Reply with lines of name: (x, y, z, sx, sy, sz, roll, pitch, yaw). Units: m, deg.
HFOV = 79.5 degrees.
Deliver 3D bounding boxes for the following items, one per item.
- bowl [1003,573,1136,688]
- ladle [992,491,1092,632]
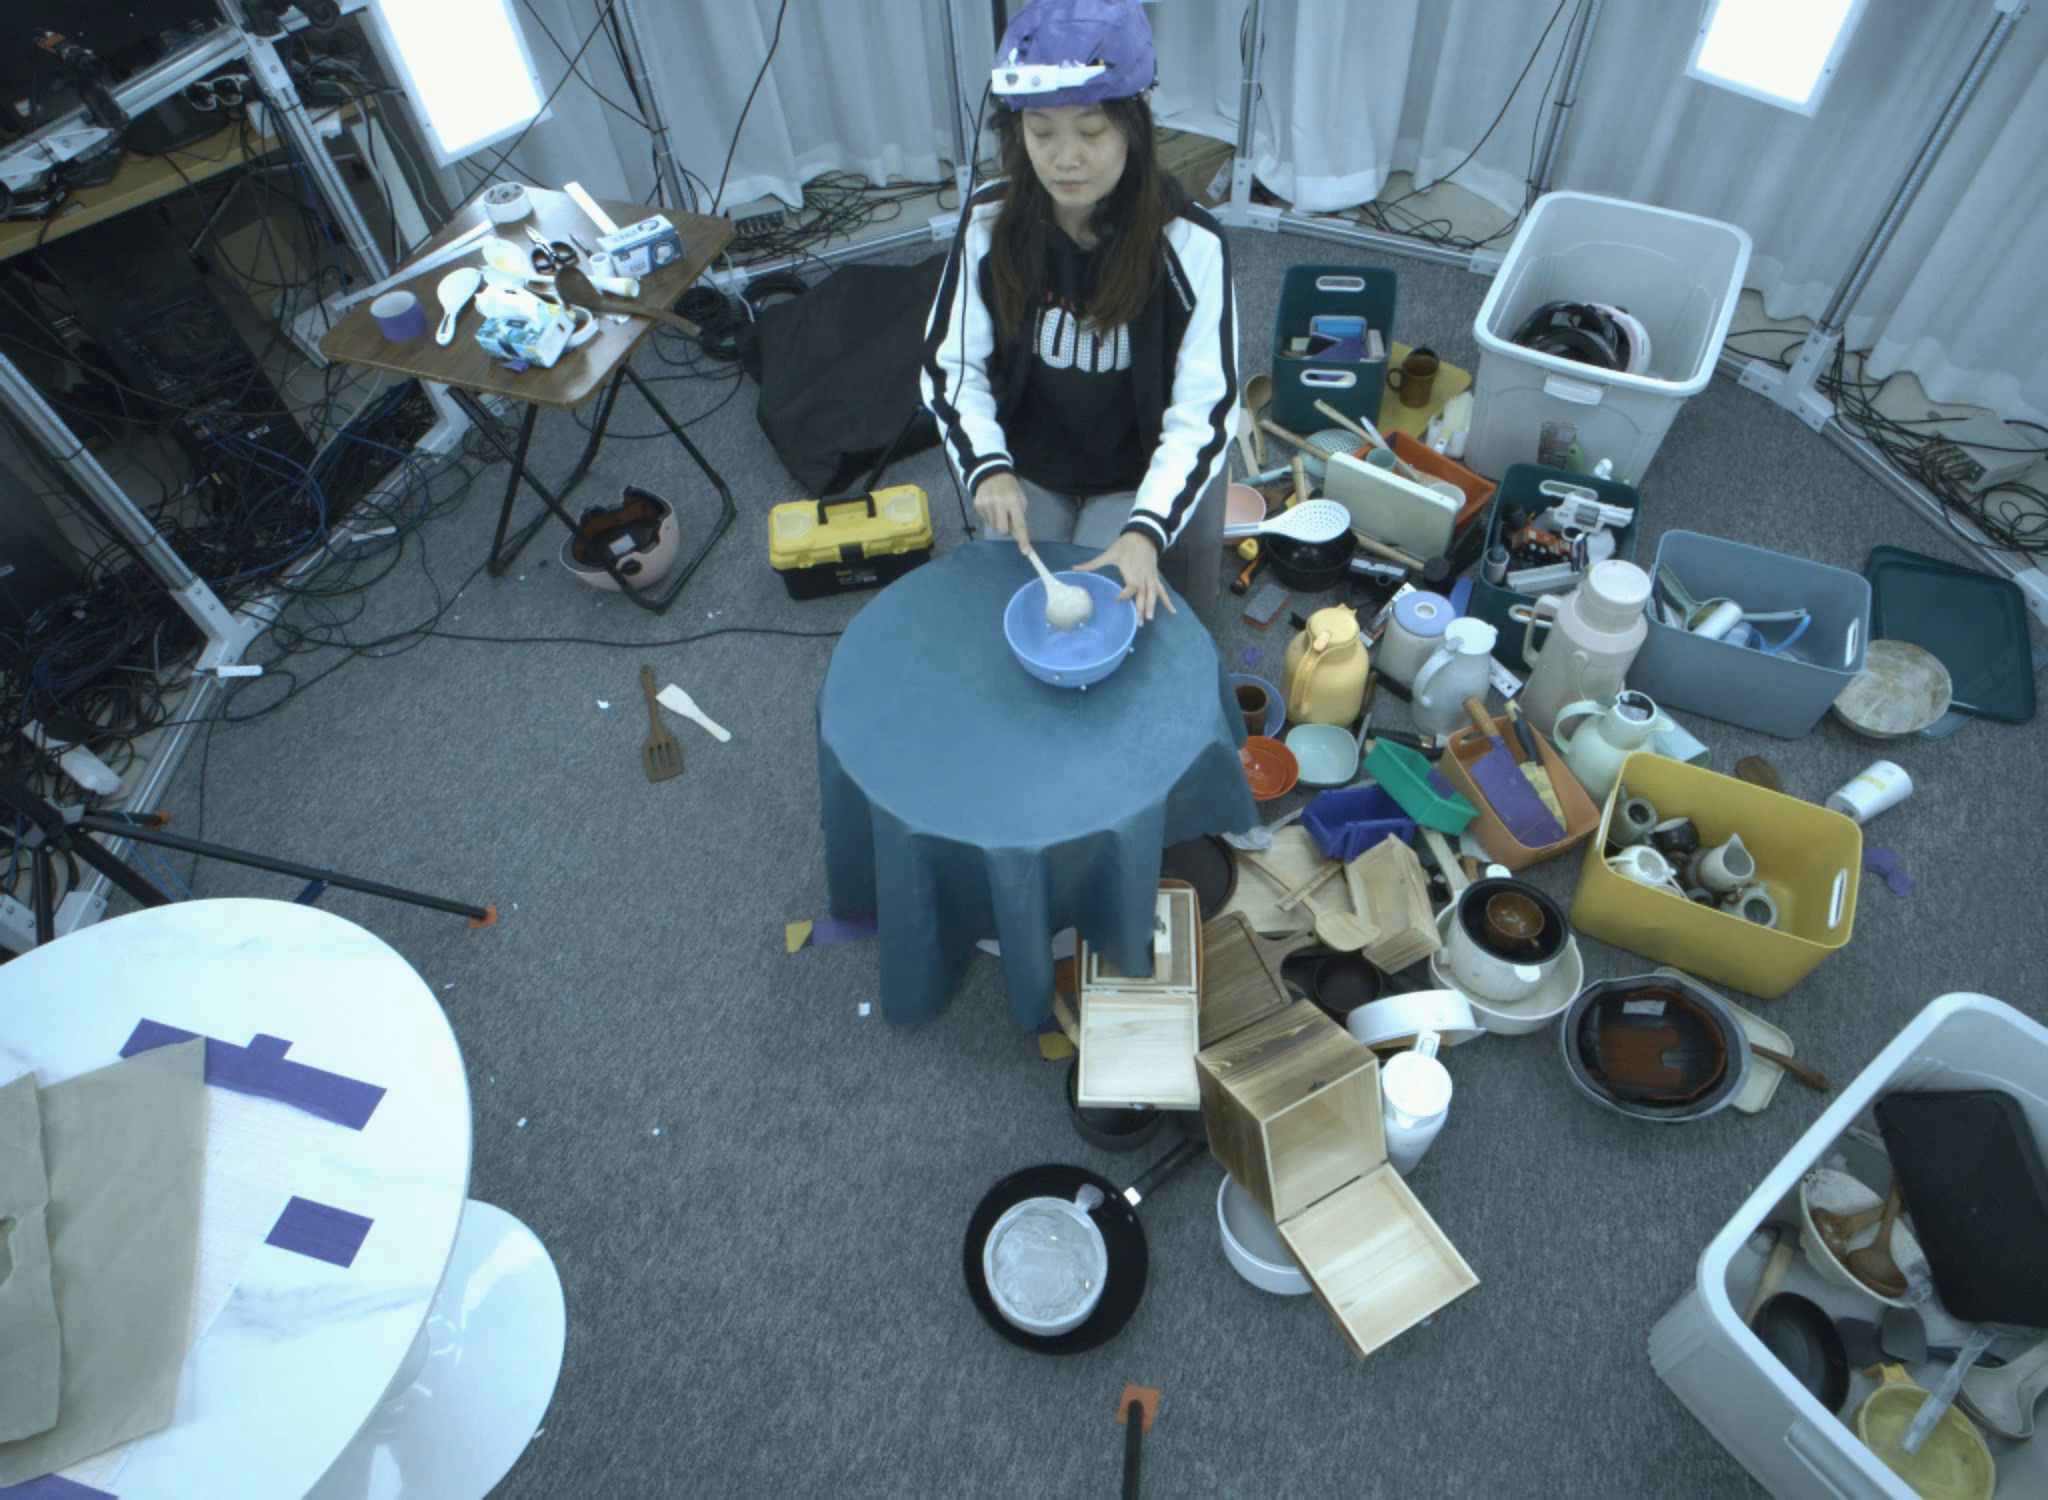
bowl: (0.071, -0.164, 1.847, 0.196, 0.096, 0.194, -1, 54, 3)
ladle: (0.022, -0.289, 1.876, 0.072, 0.074, 0.251, -32, 69, 6)
